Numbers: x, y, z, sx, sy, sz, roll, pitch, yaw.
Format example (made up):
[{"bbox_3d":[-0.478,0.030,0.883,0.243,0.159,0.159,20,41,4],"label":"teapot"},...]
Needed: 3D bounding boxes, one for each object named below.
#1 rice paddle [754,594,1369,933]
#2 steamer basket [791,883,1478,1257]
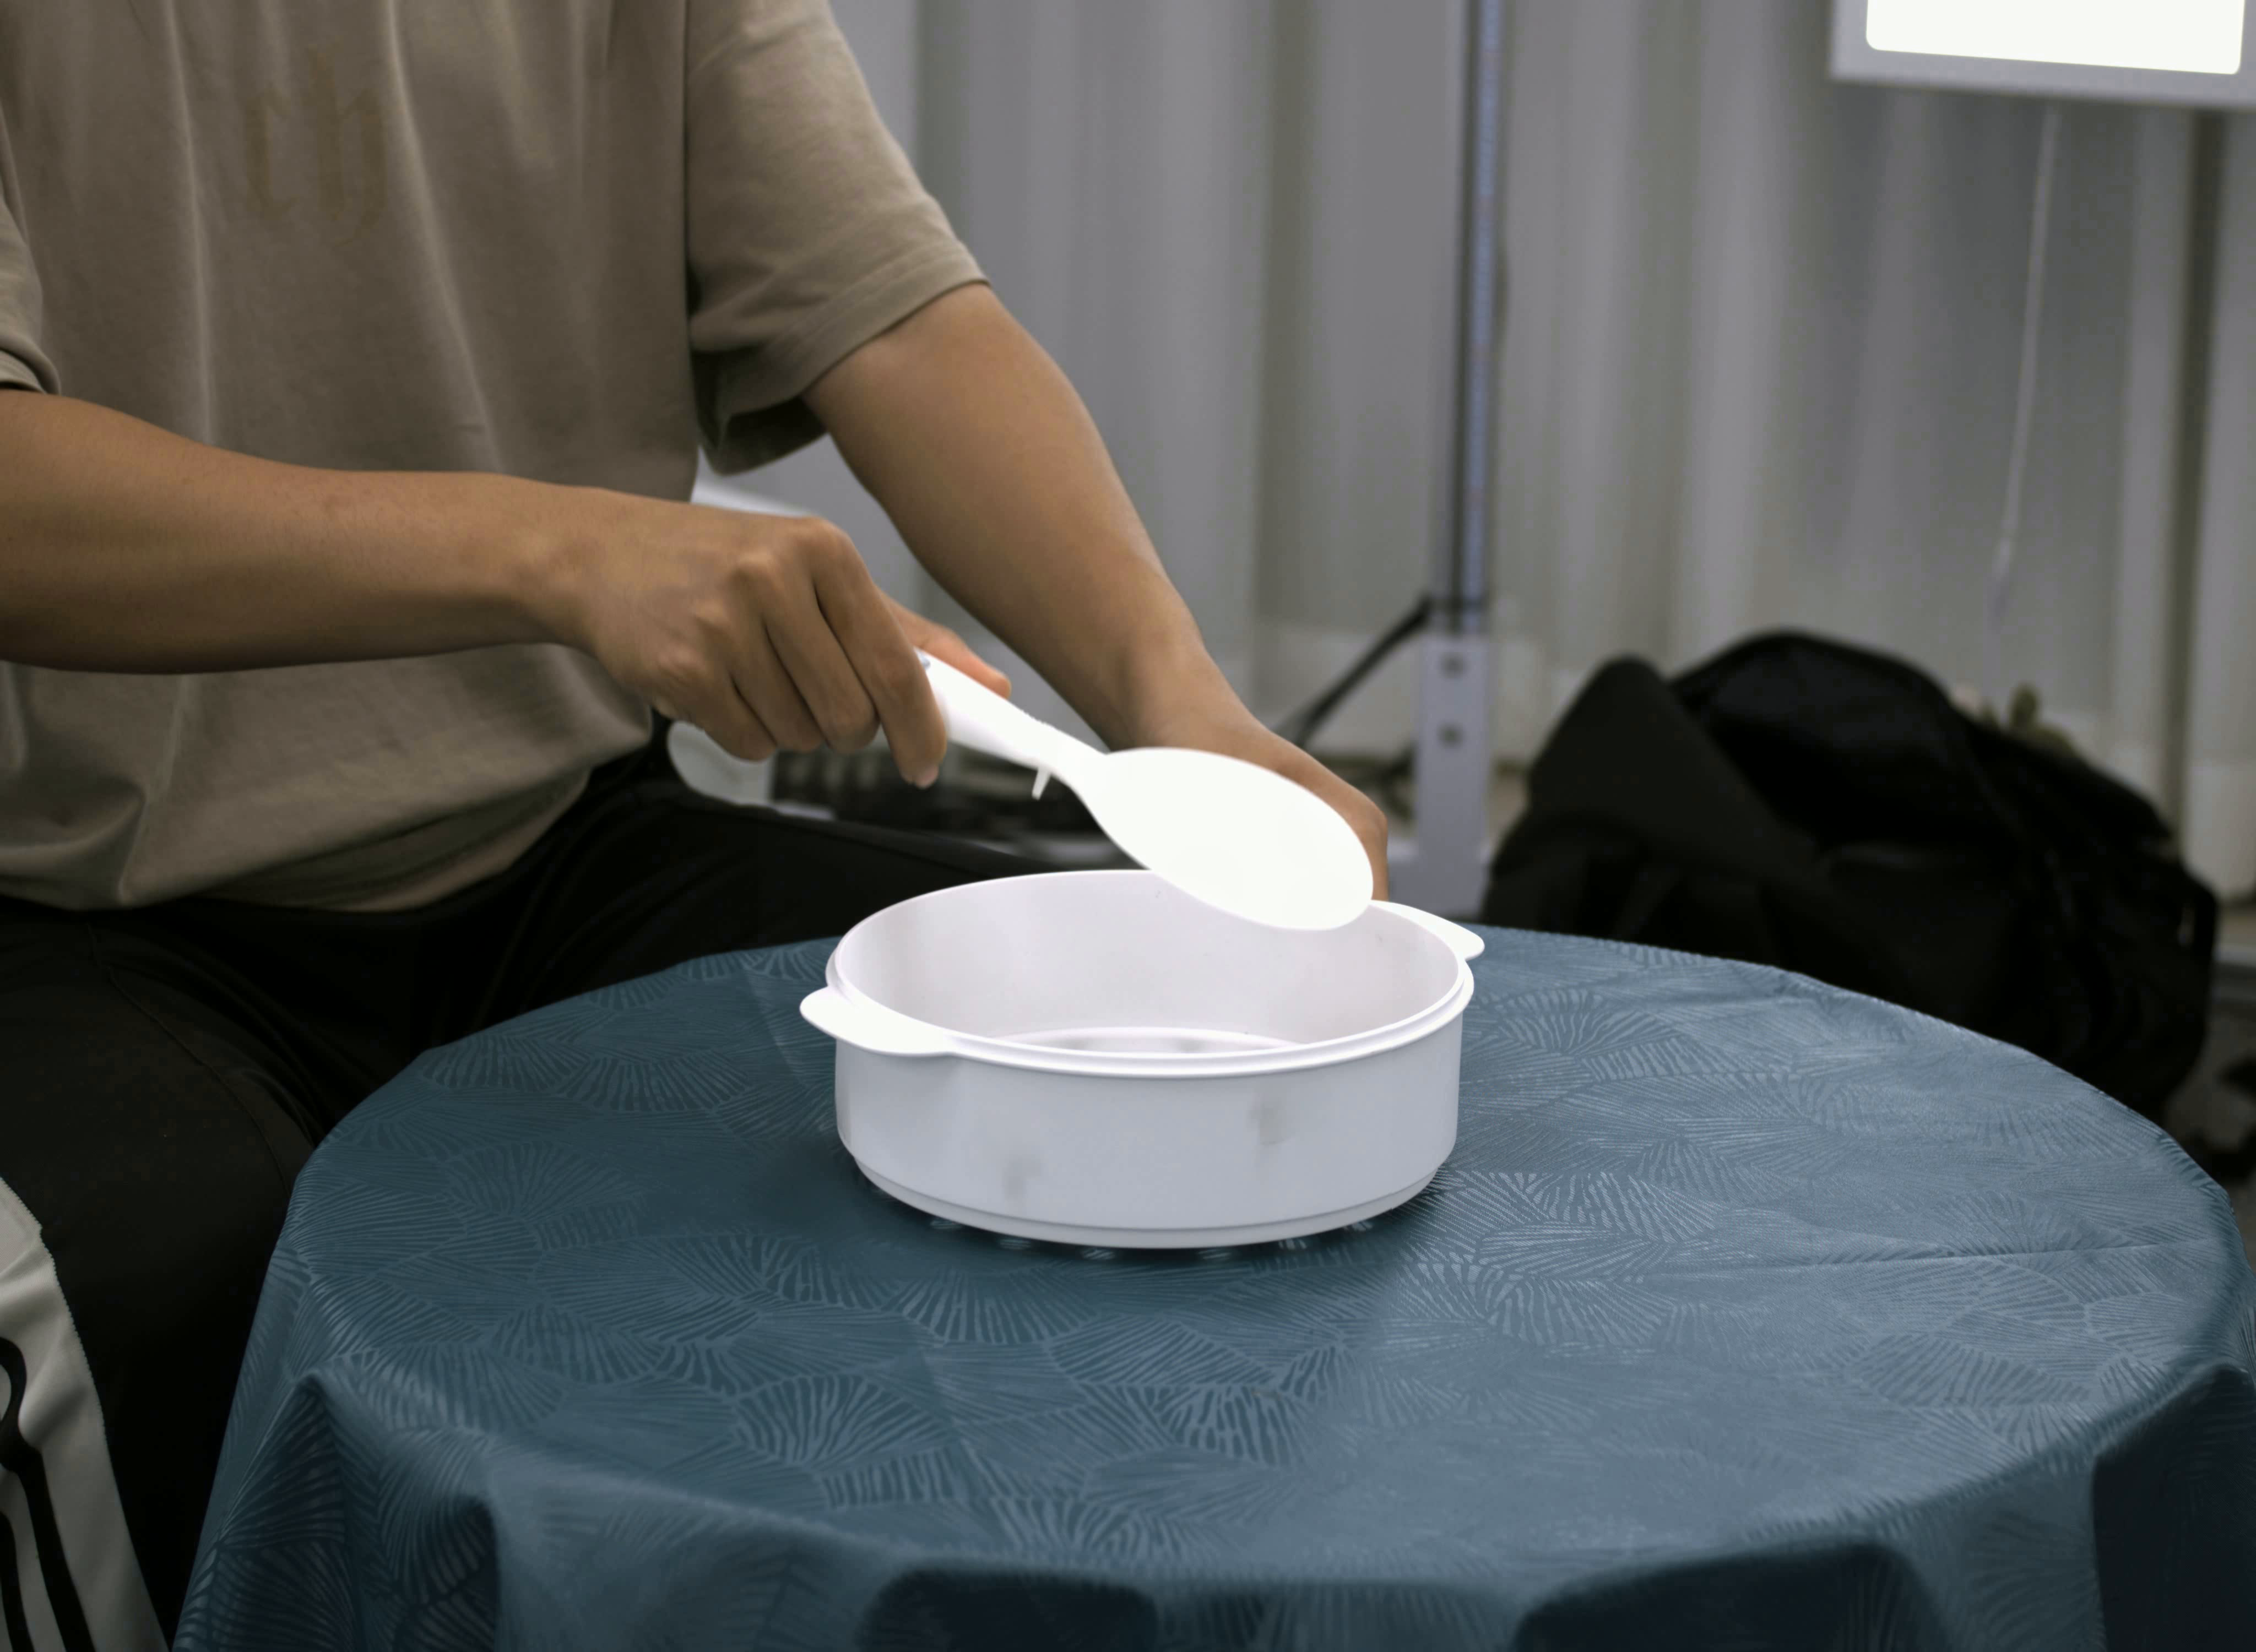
[{"bbox_3d":[-0.018,-0.019,1.642,0.204,0.029,0.068,24,42,1],"label":"rice paddle"},{"bbox_3d":[0.003,0.076,1.639,0.232,0.070,0.199,-6,17,-32],"label":"steamer basket"}]
